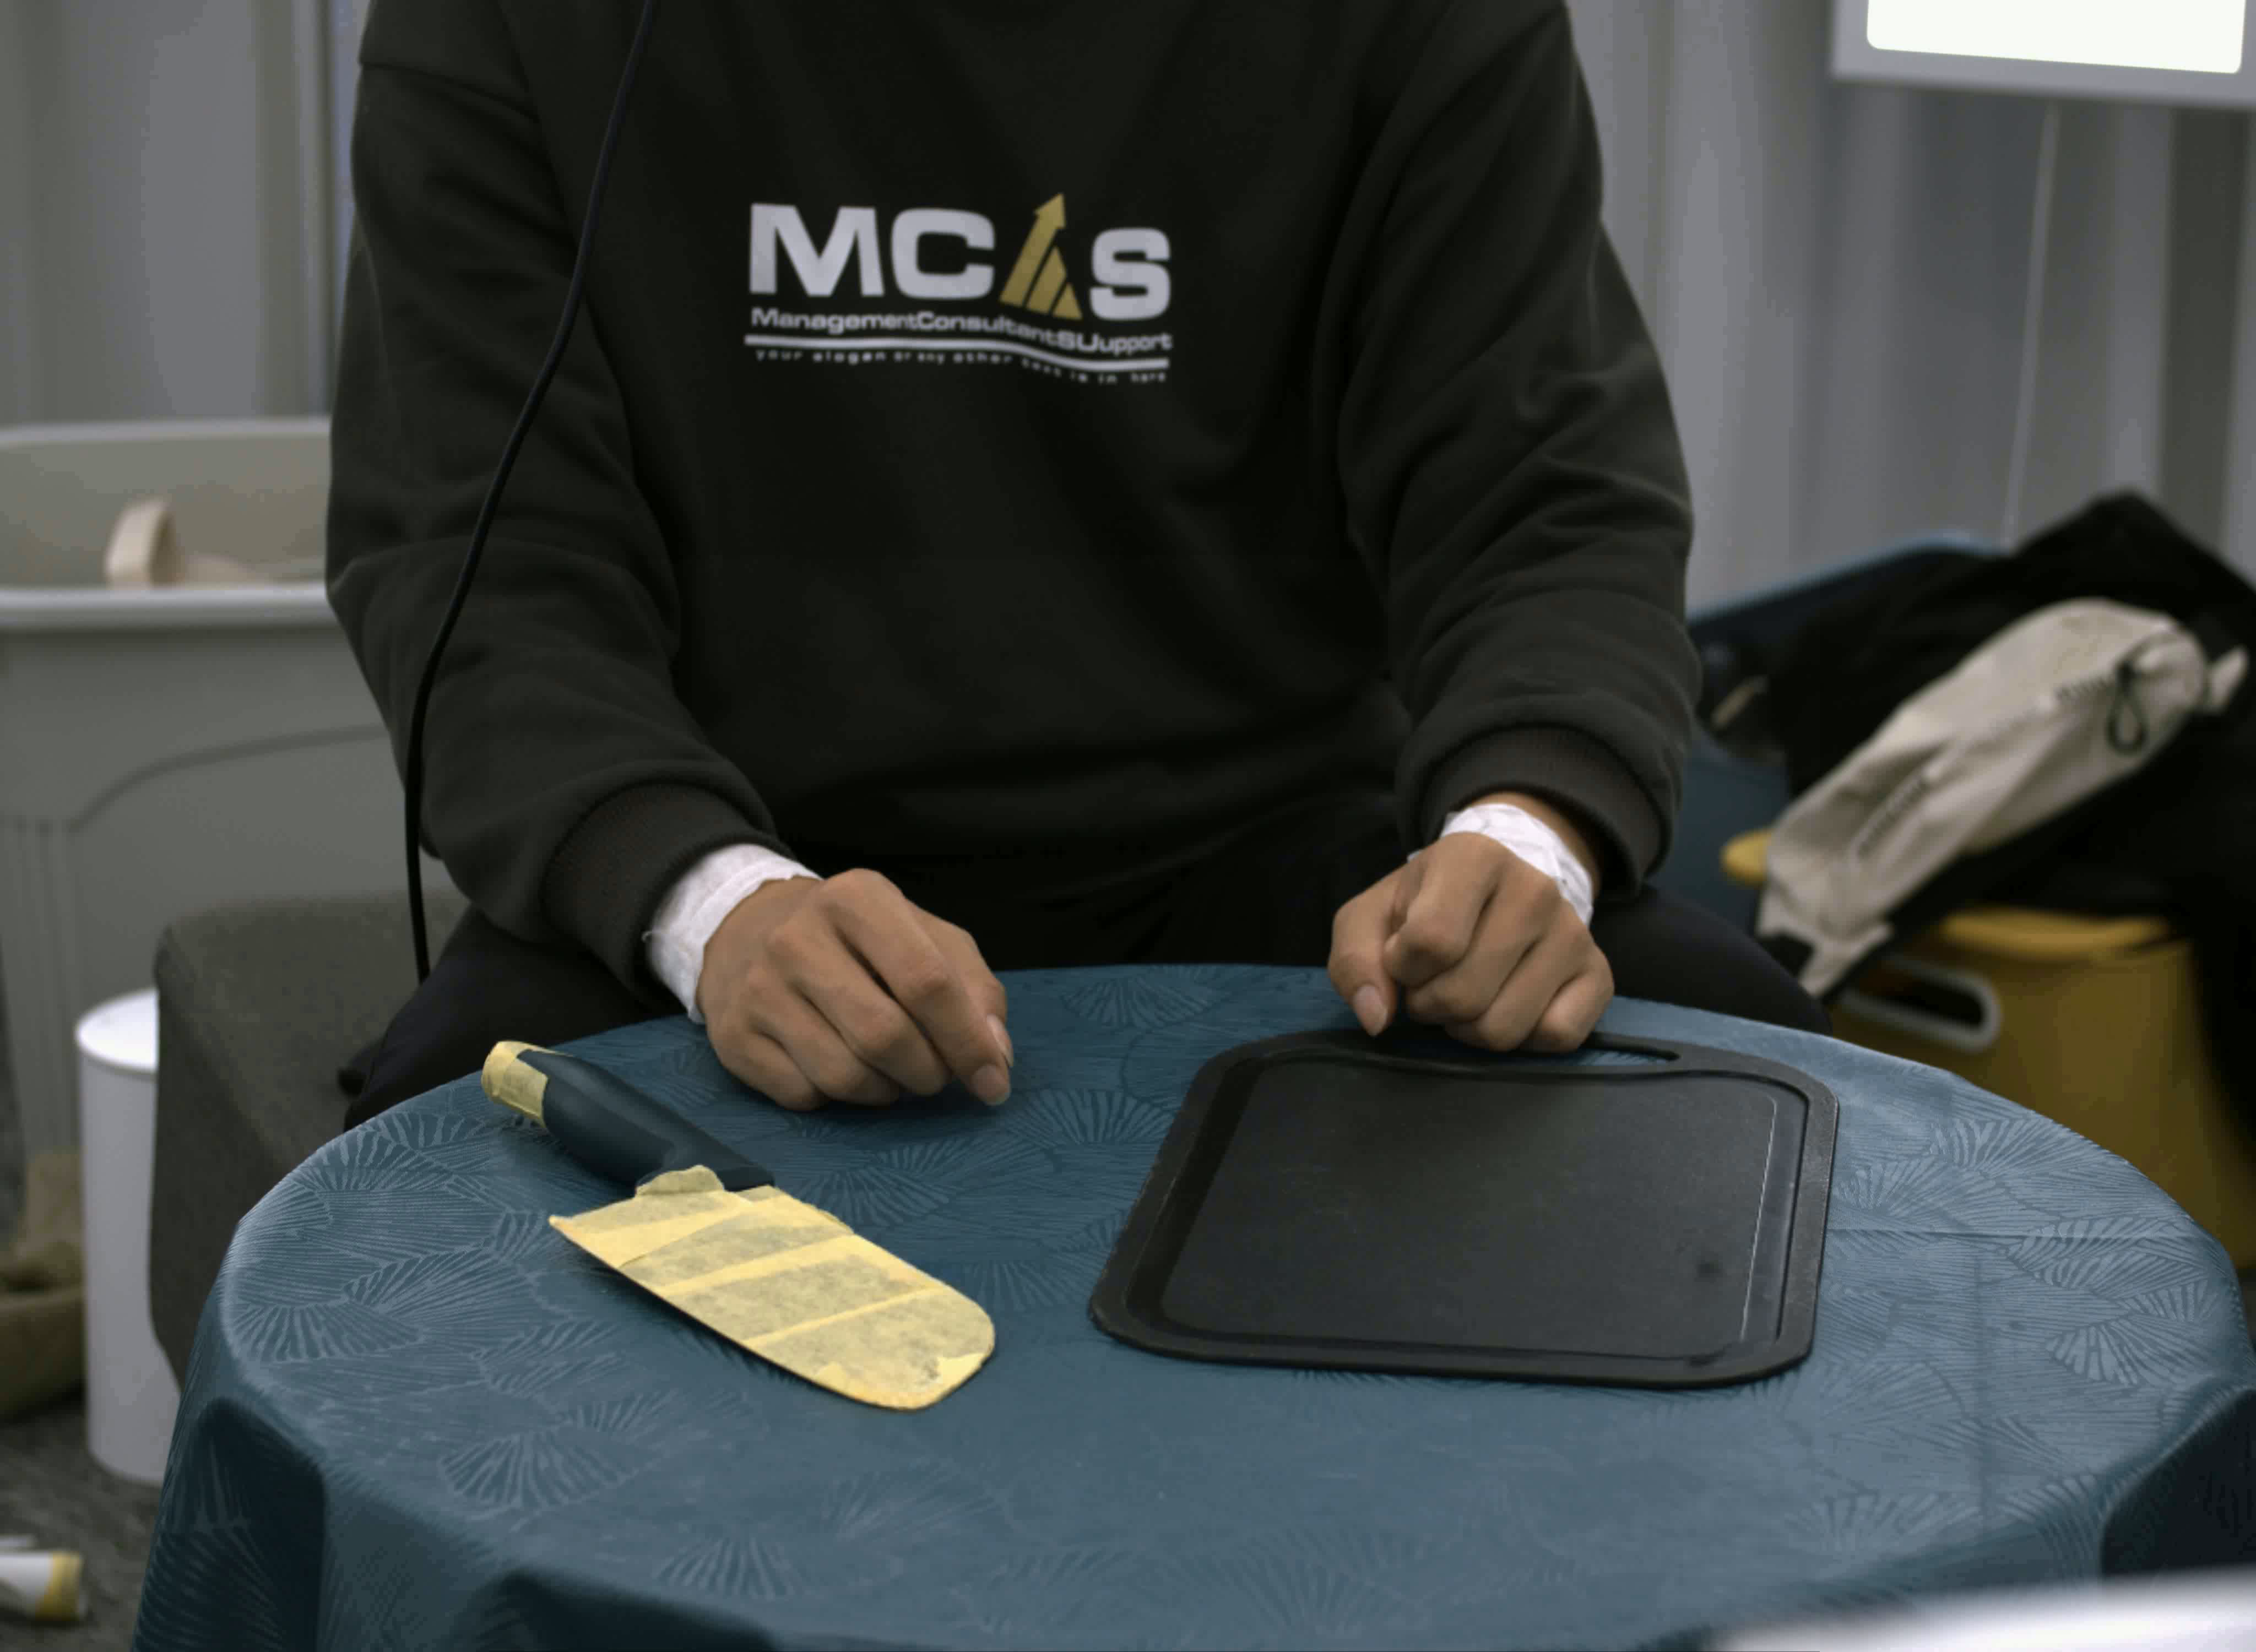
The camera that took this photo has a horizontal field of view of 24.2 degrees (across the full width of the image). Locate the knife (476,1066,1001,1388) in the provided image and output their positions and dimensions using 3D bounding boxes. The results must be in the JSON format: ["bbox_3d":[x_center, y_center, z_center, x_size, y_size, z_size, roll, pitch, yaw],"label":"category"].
[{"bbox_3d":[-0.129,0.120,1.566,0.081,0.027,0.285,-8,19,-33],"label":"knife"}]

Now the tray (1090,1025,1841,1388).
[{"bbox_3d":[0.111,0.109,1.627,0.210,0.010,0.324,3,15,9],"label":"tray"}]
